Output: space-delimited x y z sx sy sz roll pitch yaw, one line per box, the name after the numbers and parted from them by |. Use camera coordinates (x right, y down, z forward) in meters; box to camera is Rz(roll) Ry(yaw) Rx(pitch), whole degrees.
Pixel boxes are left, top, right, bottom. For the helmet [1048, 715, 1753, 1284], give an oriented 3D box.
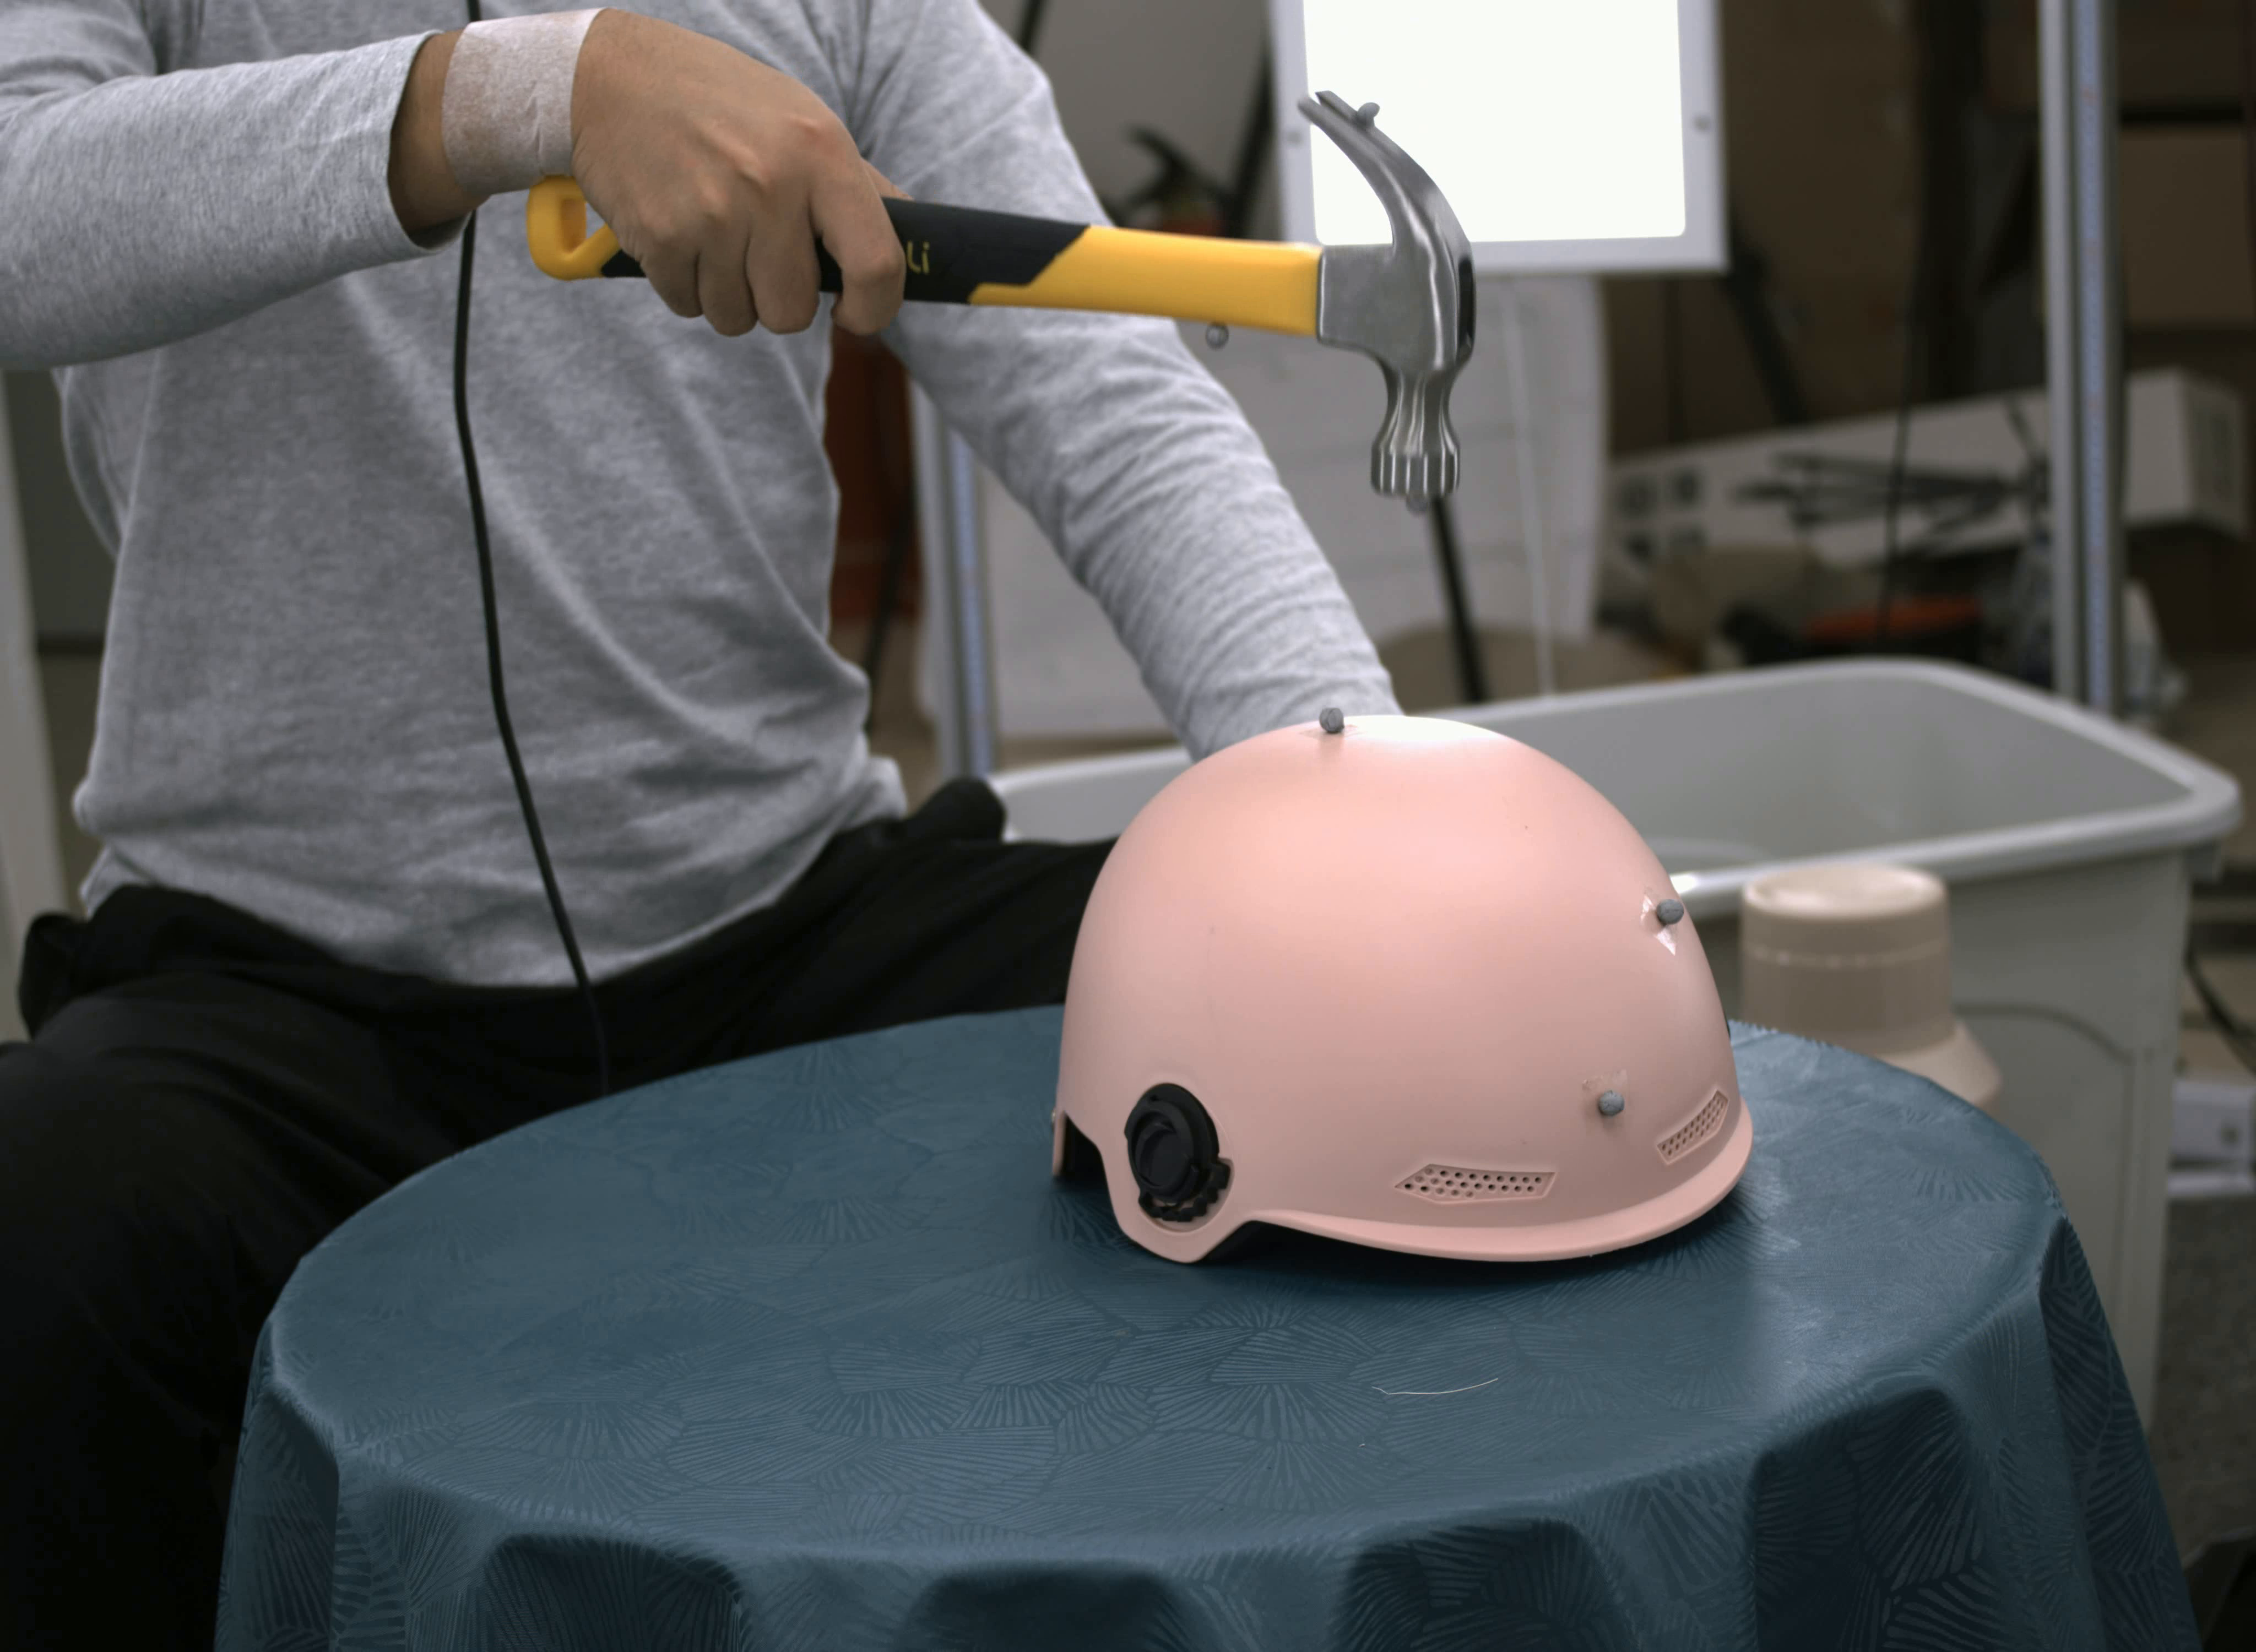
0.091 0.048 1.867 0.229 0.159 0.270 -12 19 -28 | helmet

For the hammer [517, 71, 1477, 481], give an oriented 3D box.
-0.048 -0.194 1.868 0.342 0.132 0.032 5 20 18 | hammer
